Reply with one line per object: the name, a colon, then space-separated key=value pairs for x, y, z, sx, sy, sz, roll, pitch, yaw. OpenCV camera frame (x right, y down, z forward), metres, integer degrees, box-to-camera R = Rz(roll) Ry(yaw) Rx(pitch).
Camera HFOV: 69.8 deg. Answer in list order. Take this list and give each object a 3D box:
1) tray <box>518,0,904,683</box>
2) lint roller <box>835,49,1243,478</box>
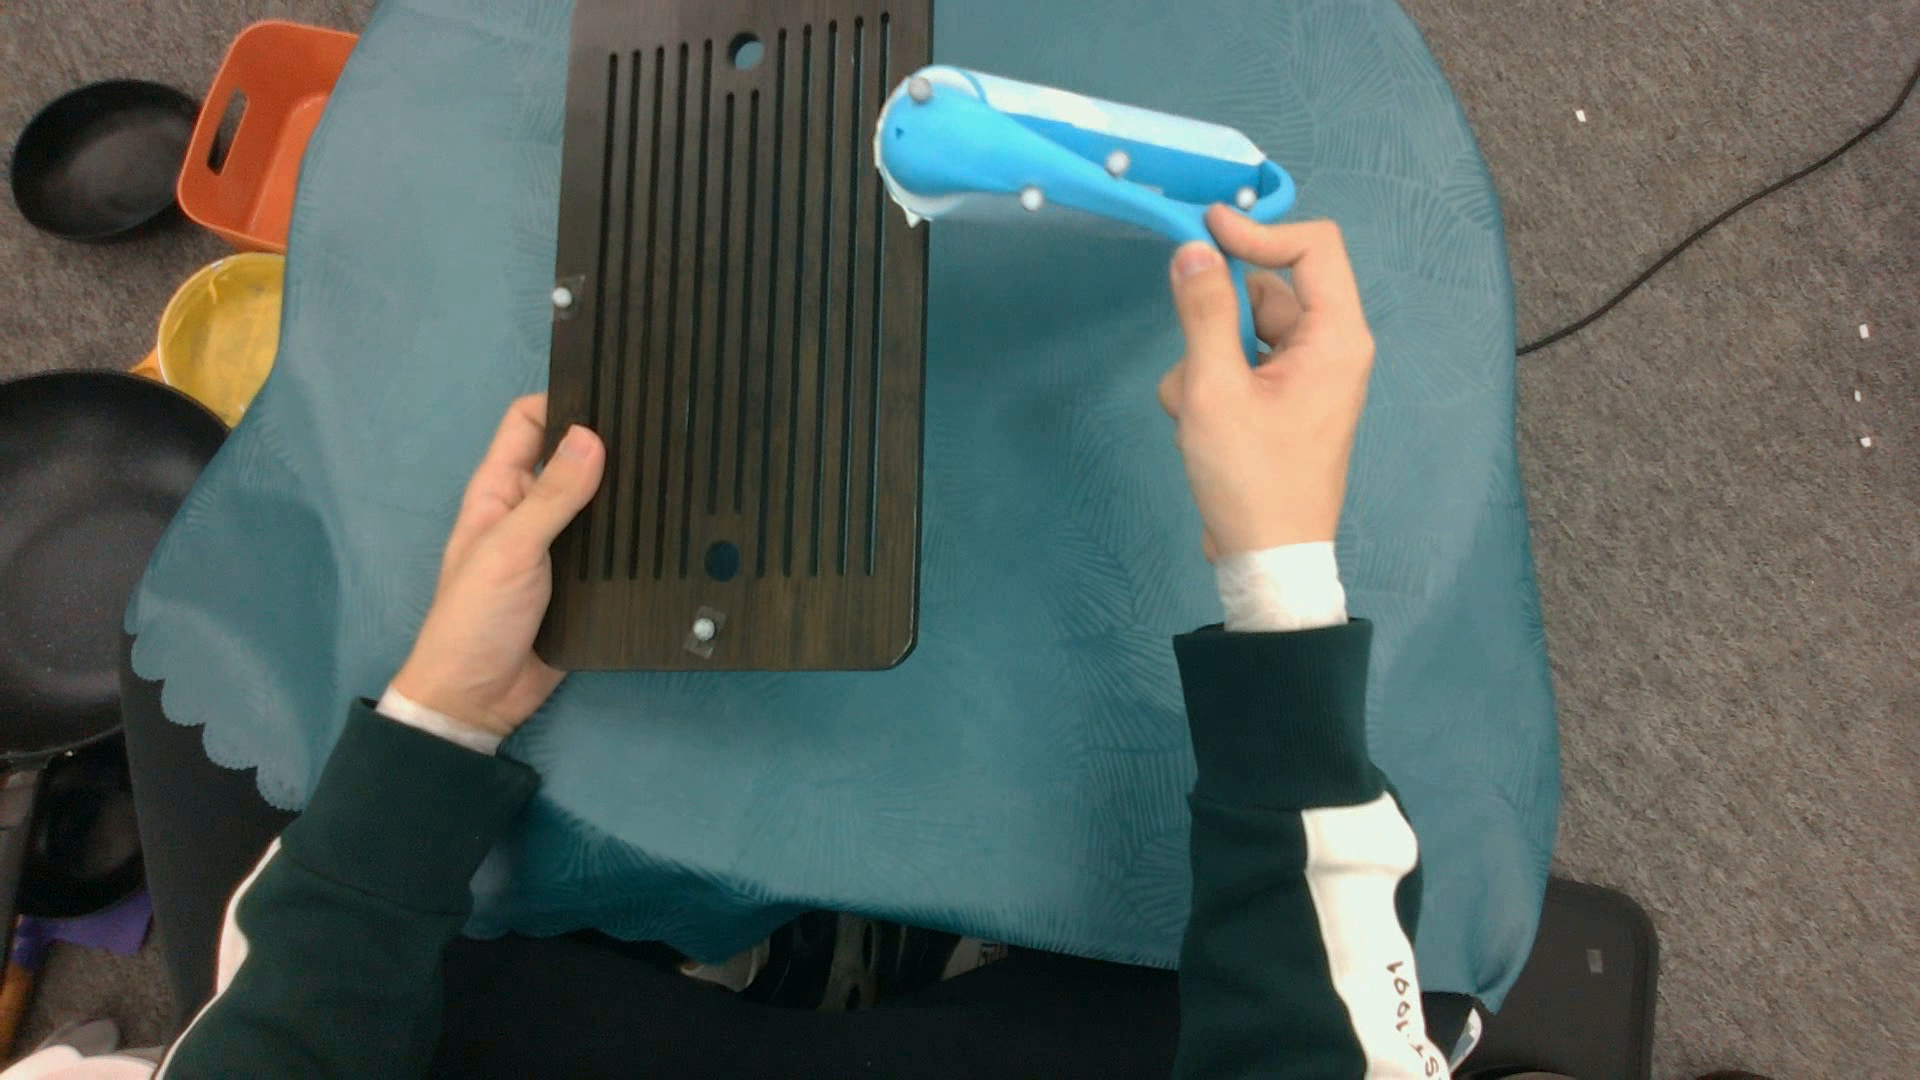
tray: x=-0.104 y=-0.095 z=0.578 sx=0.170 sy=0.018 sz=0.306 roll=-4 pitch=80 yaw=17
lint roller: x=0.066 y=-0.116 z=0.561 sx=0.230 sy=0.067 sz=0.180 roll=-14 pitch=68 yaw=-52
